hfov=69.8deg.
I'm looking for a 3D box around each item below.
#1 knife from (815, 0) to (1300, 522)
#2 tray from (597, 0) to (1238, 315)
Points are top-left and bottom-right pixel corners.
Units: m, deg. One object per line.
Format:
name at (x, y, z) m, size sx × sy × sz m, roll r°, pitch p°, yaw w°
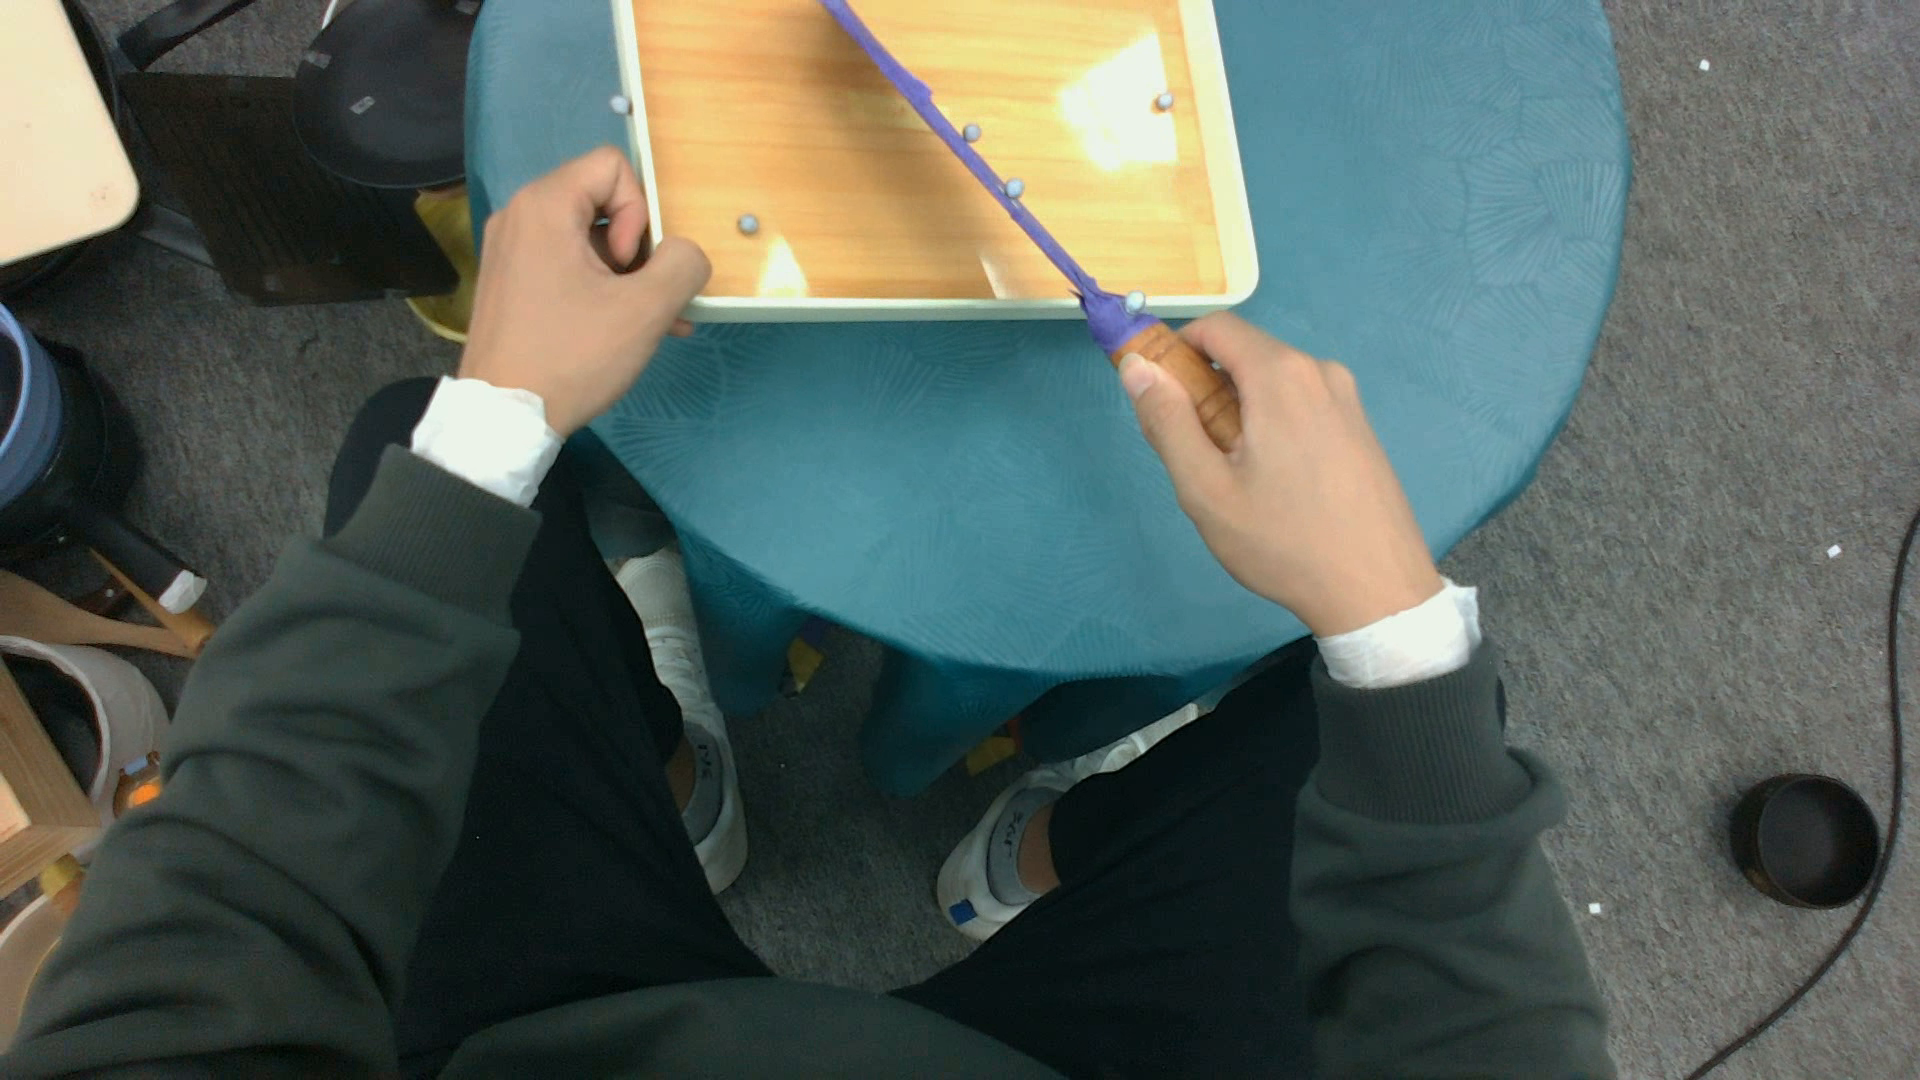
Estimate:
knife at (0.029, -0.137, 0.575) m, size 0.032 × 0.104 × 0.315 m, roll -41°, pitch 84°, yaw 15°
tray at (-0.012, -0.201, 0.644) m, size 0.301 × 0.027 × 0.192 m, roll -5°, pitch 82°, yaw -25°
